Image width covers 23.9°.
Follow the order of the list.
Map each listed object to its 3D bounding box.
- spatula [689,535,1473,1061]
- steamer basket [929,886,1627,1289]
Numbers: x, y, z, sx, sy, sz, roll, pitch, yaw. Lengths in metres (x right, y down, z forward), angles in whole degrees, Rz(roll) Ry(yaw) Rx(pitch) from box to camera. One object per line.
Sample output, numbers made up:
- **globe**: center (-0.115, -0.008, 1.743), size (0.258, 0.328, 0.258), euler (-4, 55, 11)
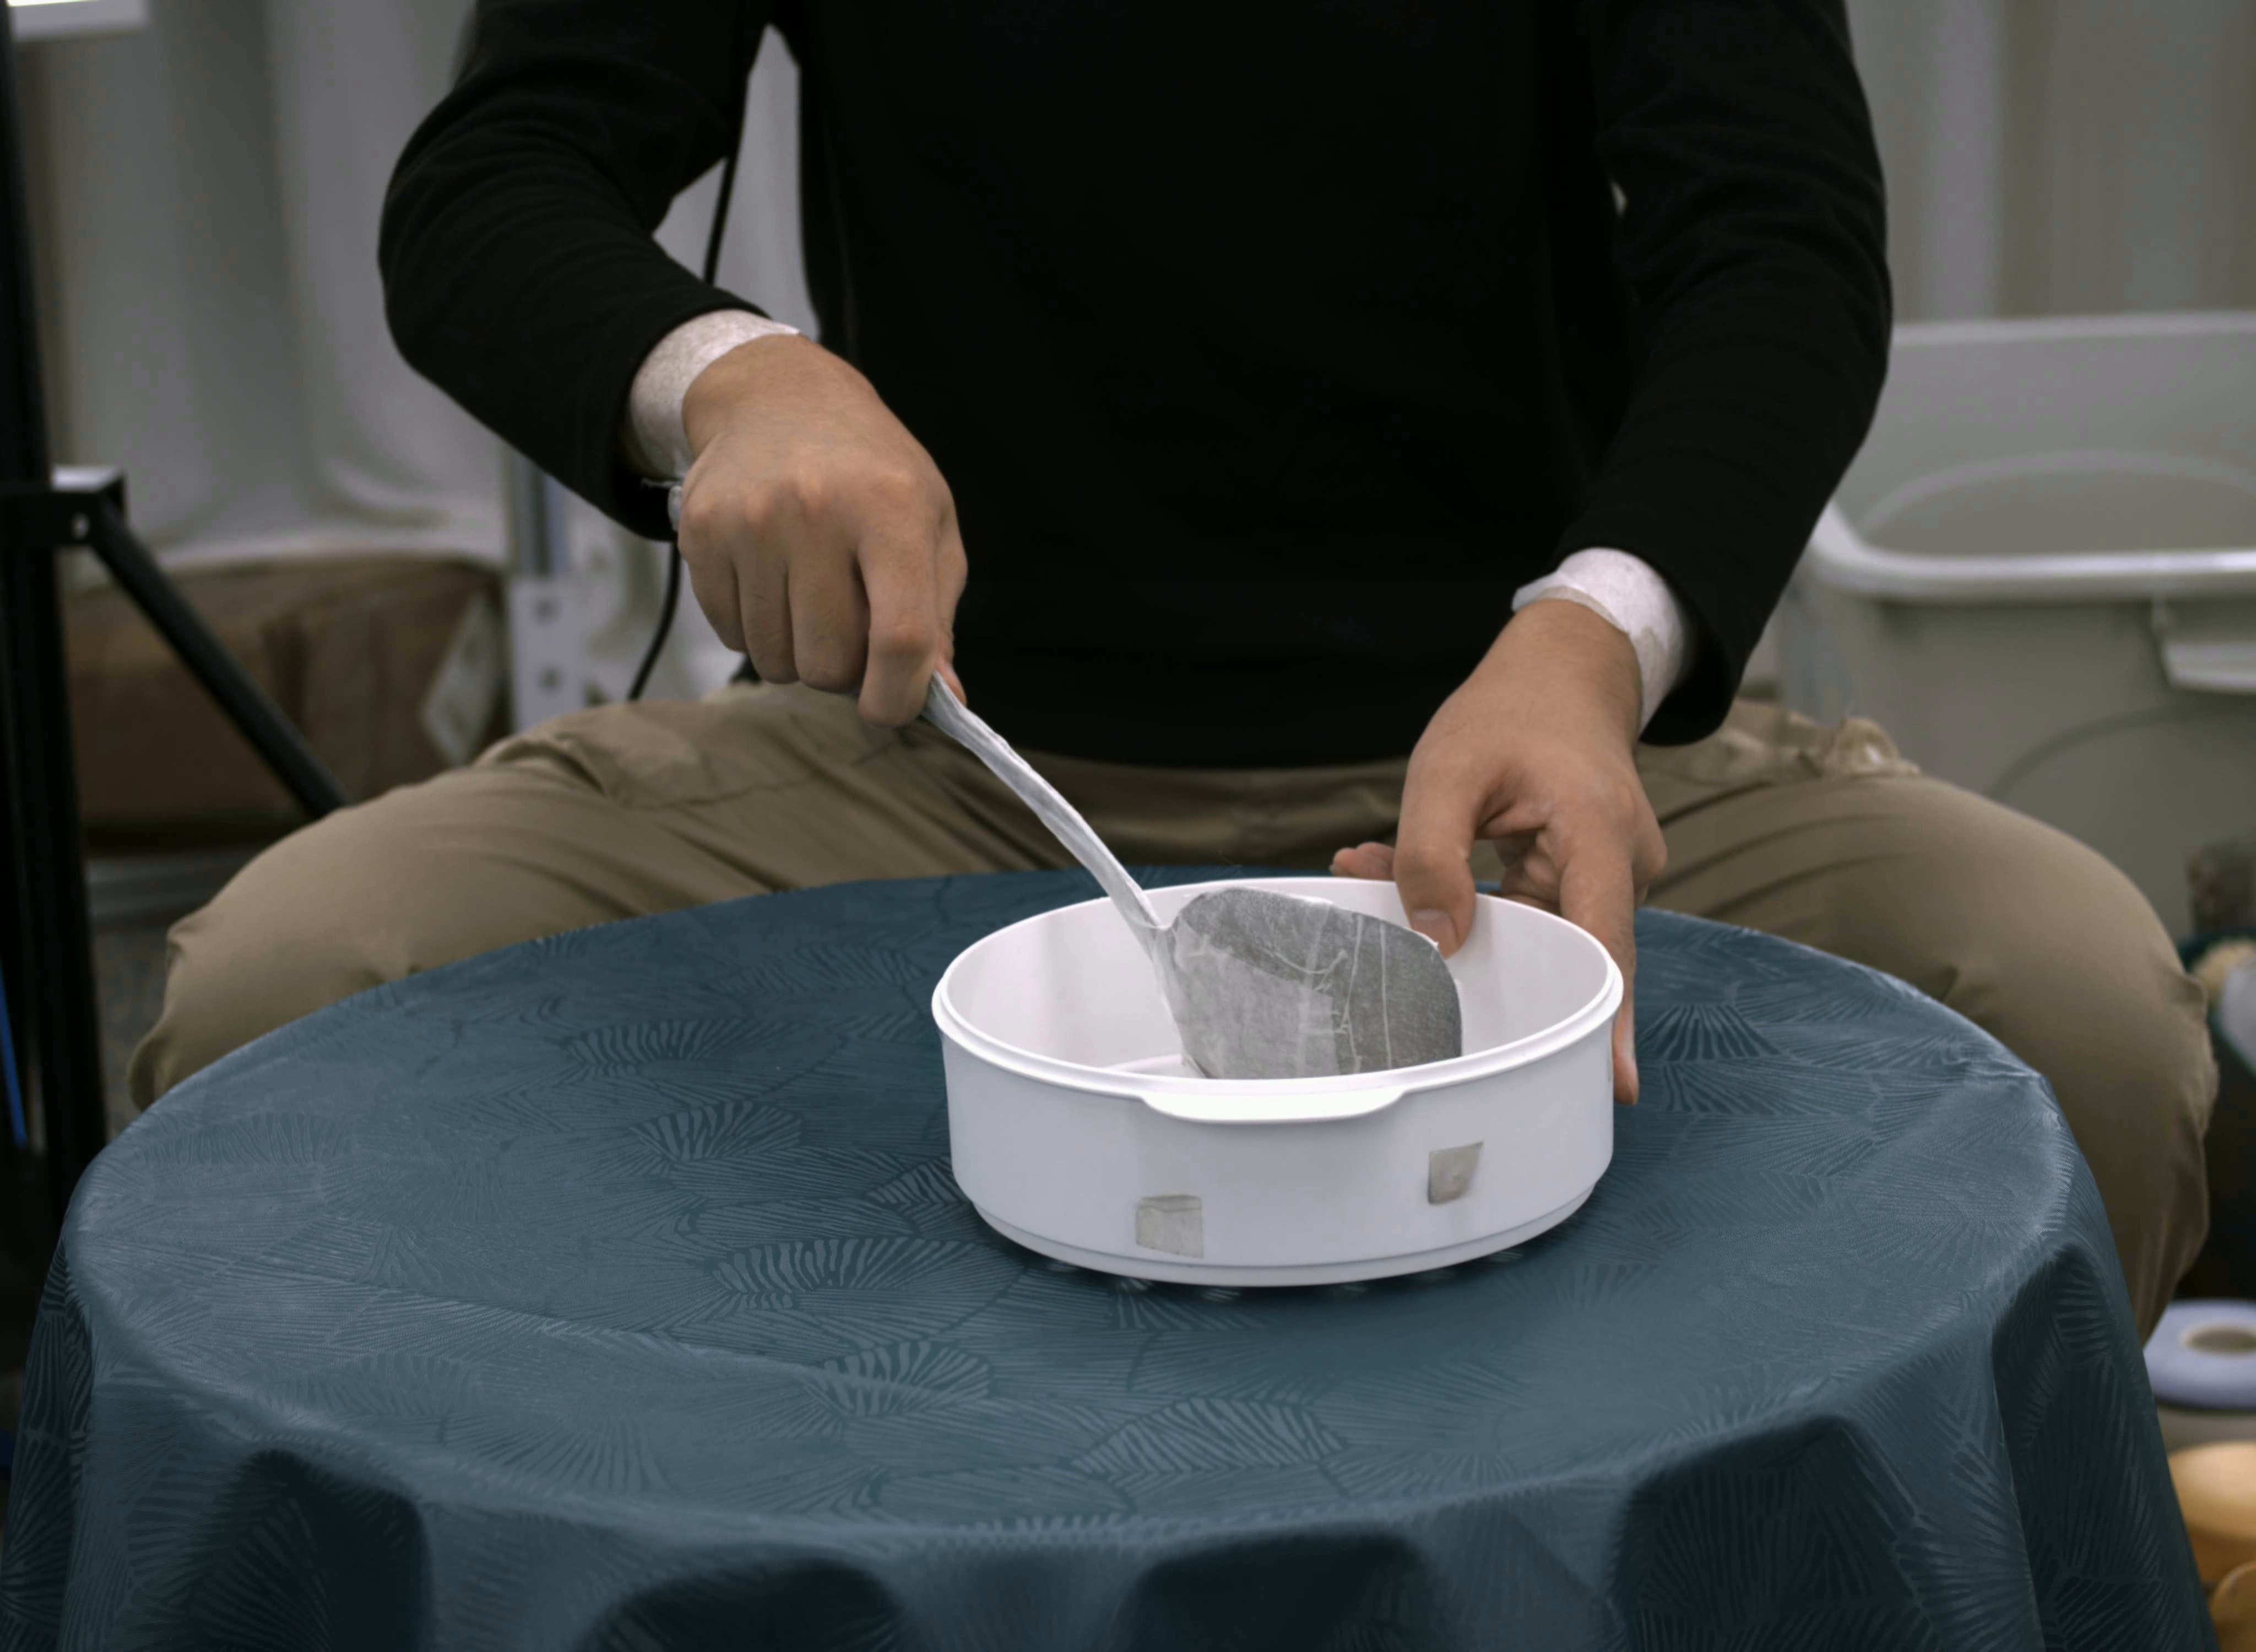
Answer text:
- **spatula**: center (-0.021, -0.008, 1.595), size (0.044, 0.098, 0.373), euler (-23, 43, -25)
- **steamer basket**: center (0.044, 0.075, 1.538), size (0.201, 0.069, 0.231), euler (0, 15, 4)
